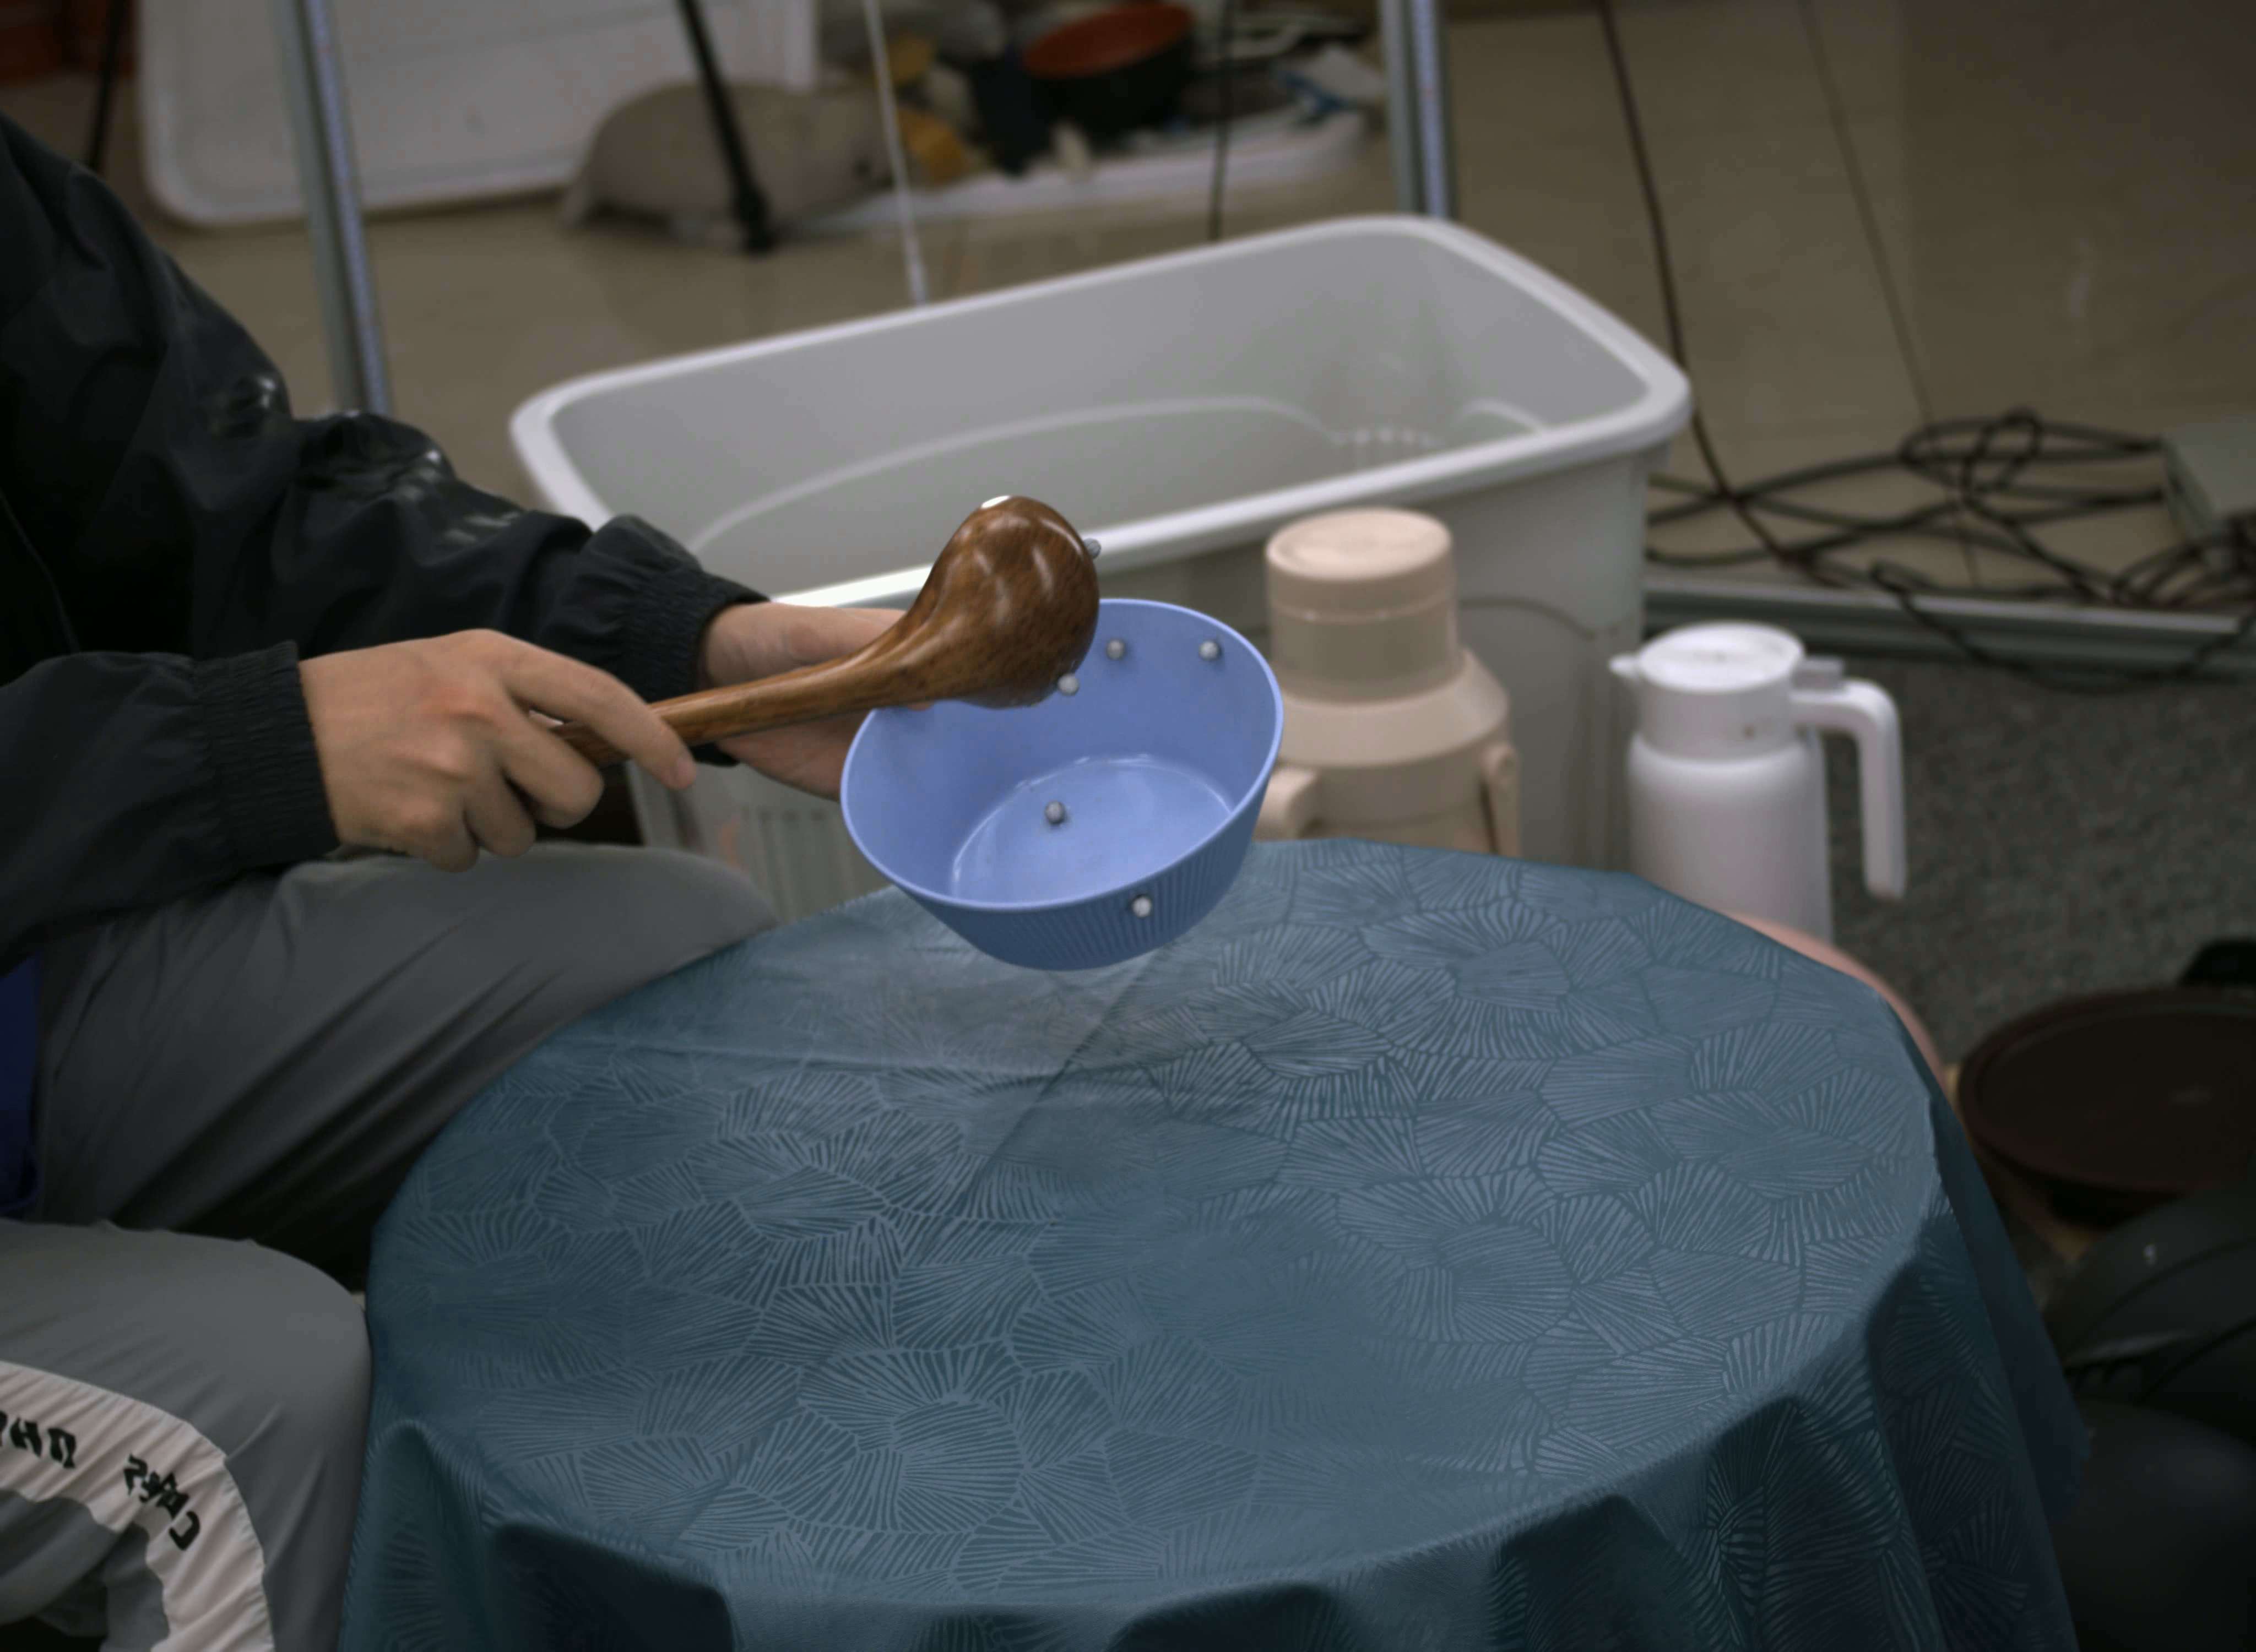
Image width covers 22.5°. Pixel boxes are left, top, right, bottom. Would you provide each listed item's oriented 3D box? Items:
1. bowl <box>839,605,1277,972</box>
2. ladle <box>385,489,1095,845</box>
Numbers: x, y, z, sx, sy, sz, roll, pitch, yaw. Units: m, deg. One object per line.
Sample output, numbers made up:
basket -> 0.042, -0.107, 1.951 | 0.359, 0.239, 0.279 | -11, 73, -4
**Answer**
bowl -> -0.020, -0.006, 2.205 | 0.176, 0.071, 0.173 | -10, 42, 10
ladle -> -0.145, -0.057, 2.111 | 0.274, 0.083, 0.075 | -15, 26, 10
